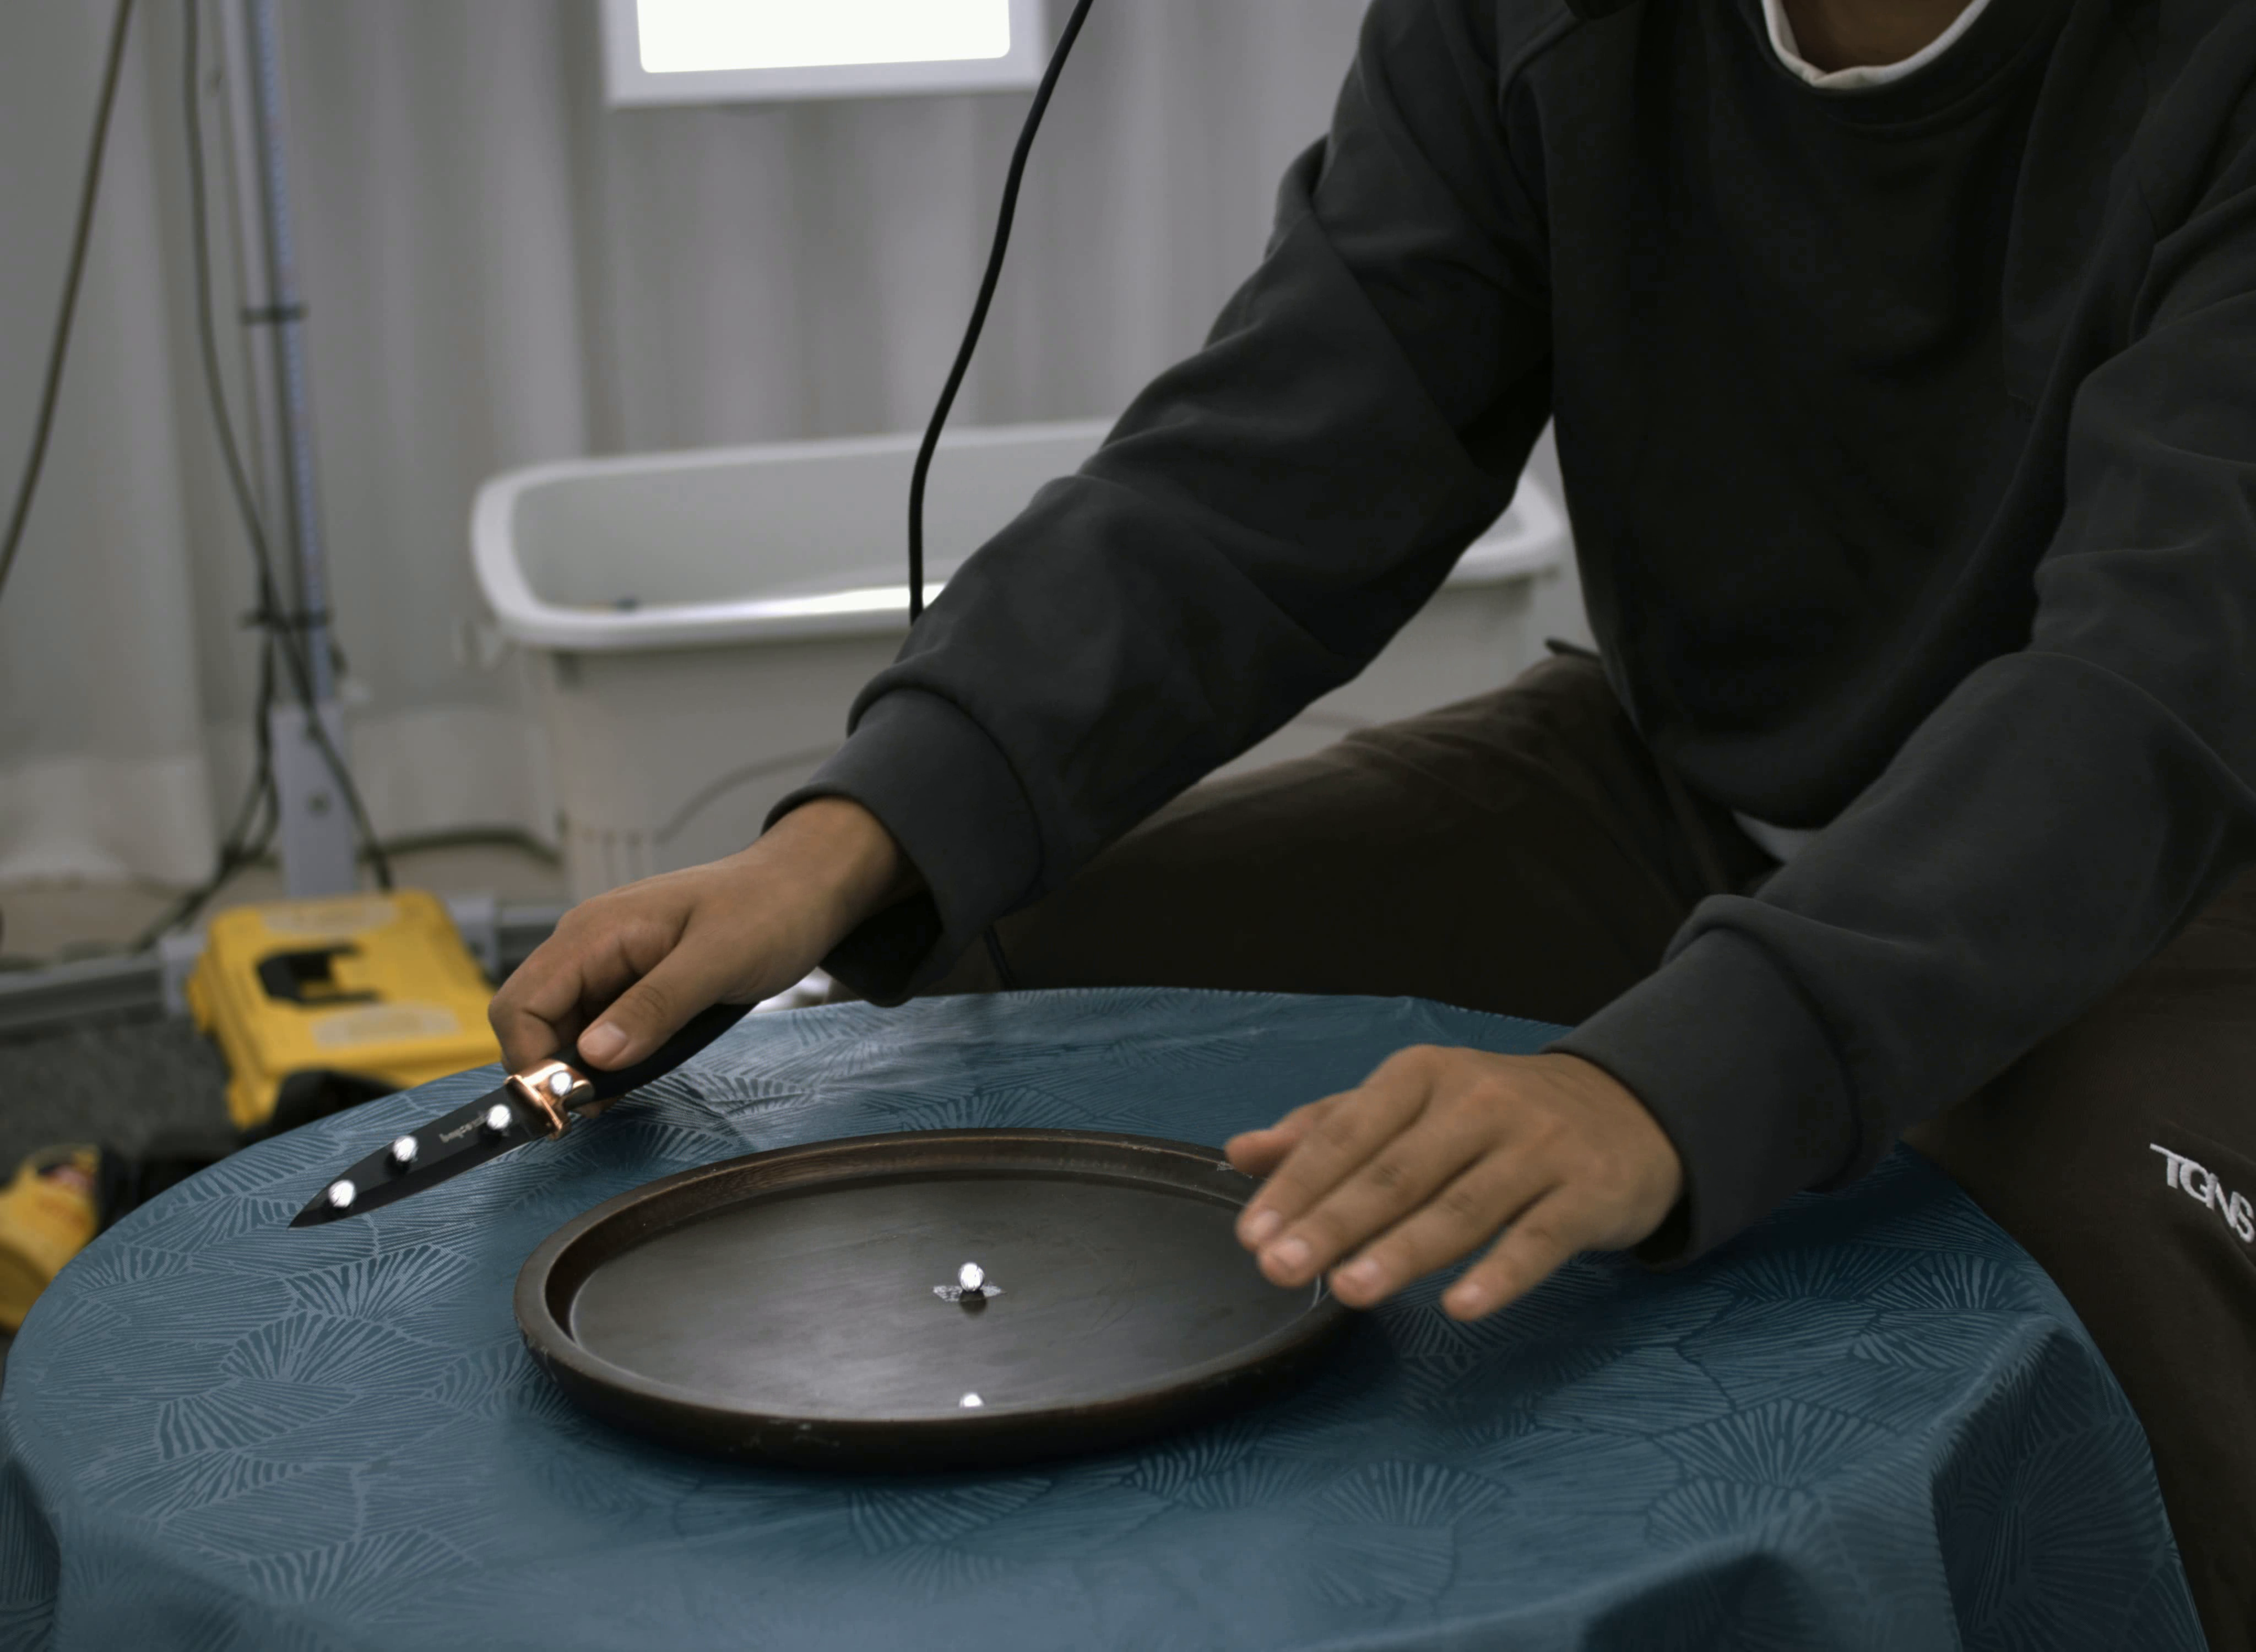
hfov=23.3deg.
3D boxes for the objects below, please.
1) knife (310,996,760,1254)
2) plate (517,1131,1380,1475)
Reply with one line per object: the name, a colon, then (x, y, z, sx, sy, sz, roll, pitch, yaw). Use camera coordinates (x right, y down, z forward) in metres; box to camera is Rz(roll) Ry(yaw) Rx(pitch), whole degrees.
knife: (-0.188, 0.094, 1.739, 0.026, 0.017, 0.226, 44, 35, 15)
plate: (-0.052, 0.137, 1.598, 0.254, 0.029, 0.256, -3, 13, 0)
